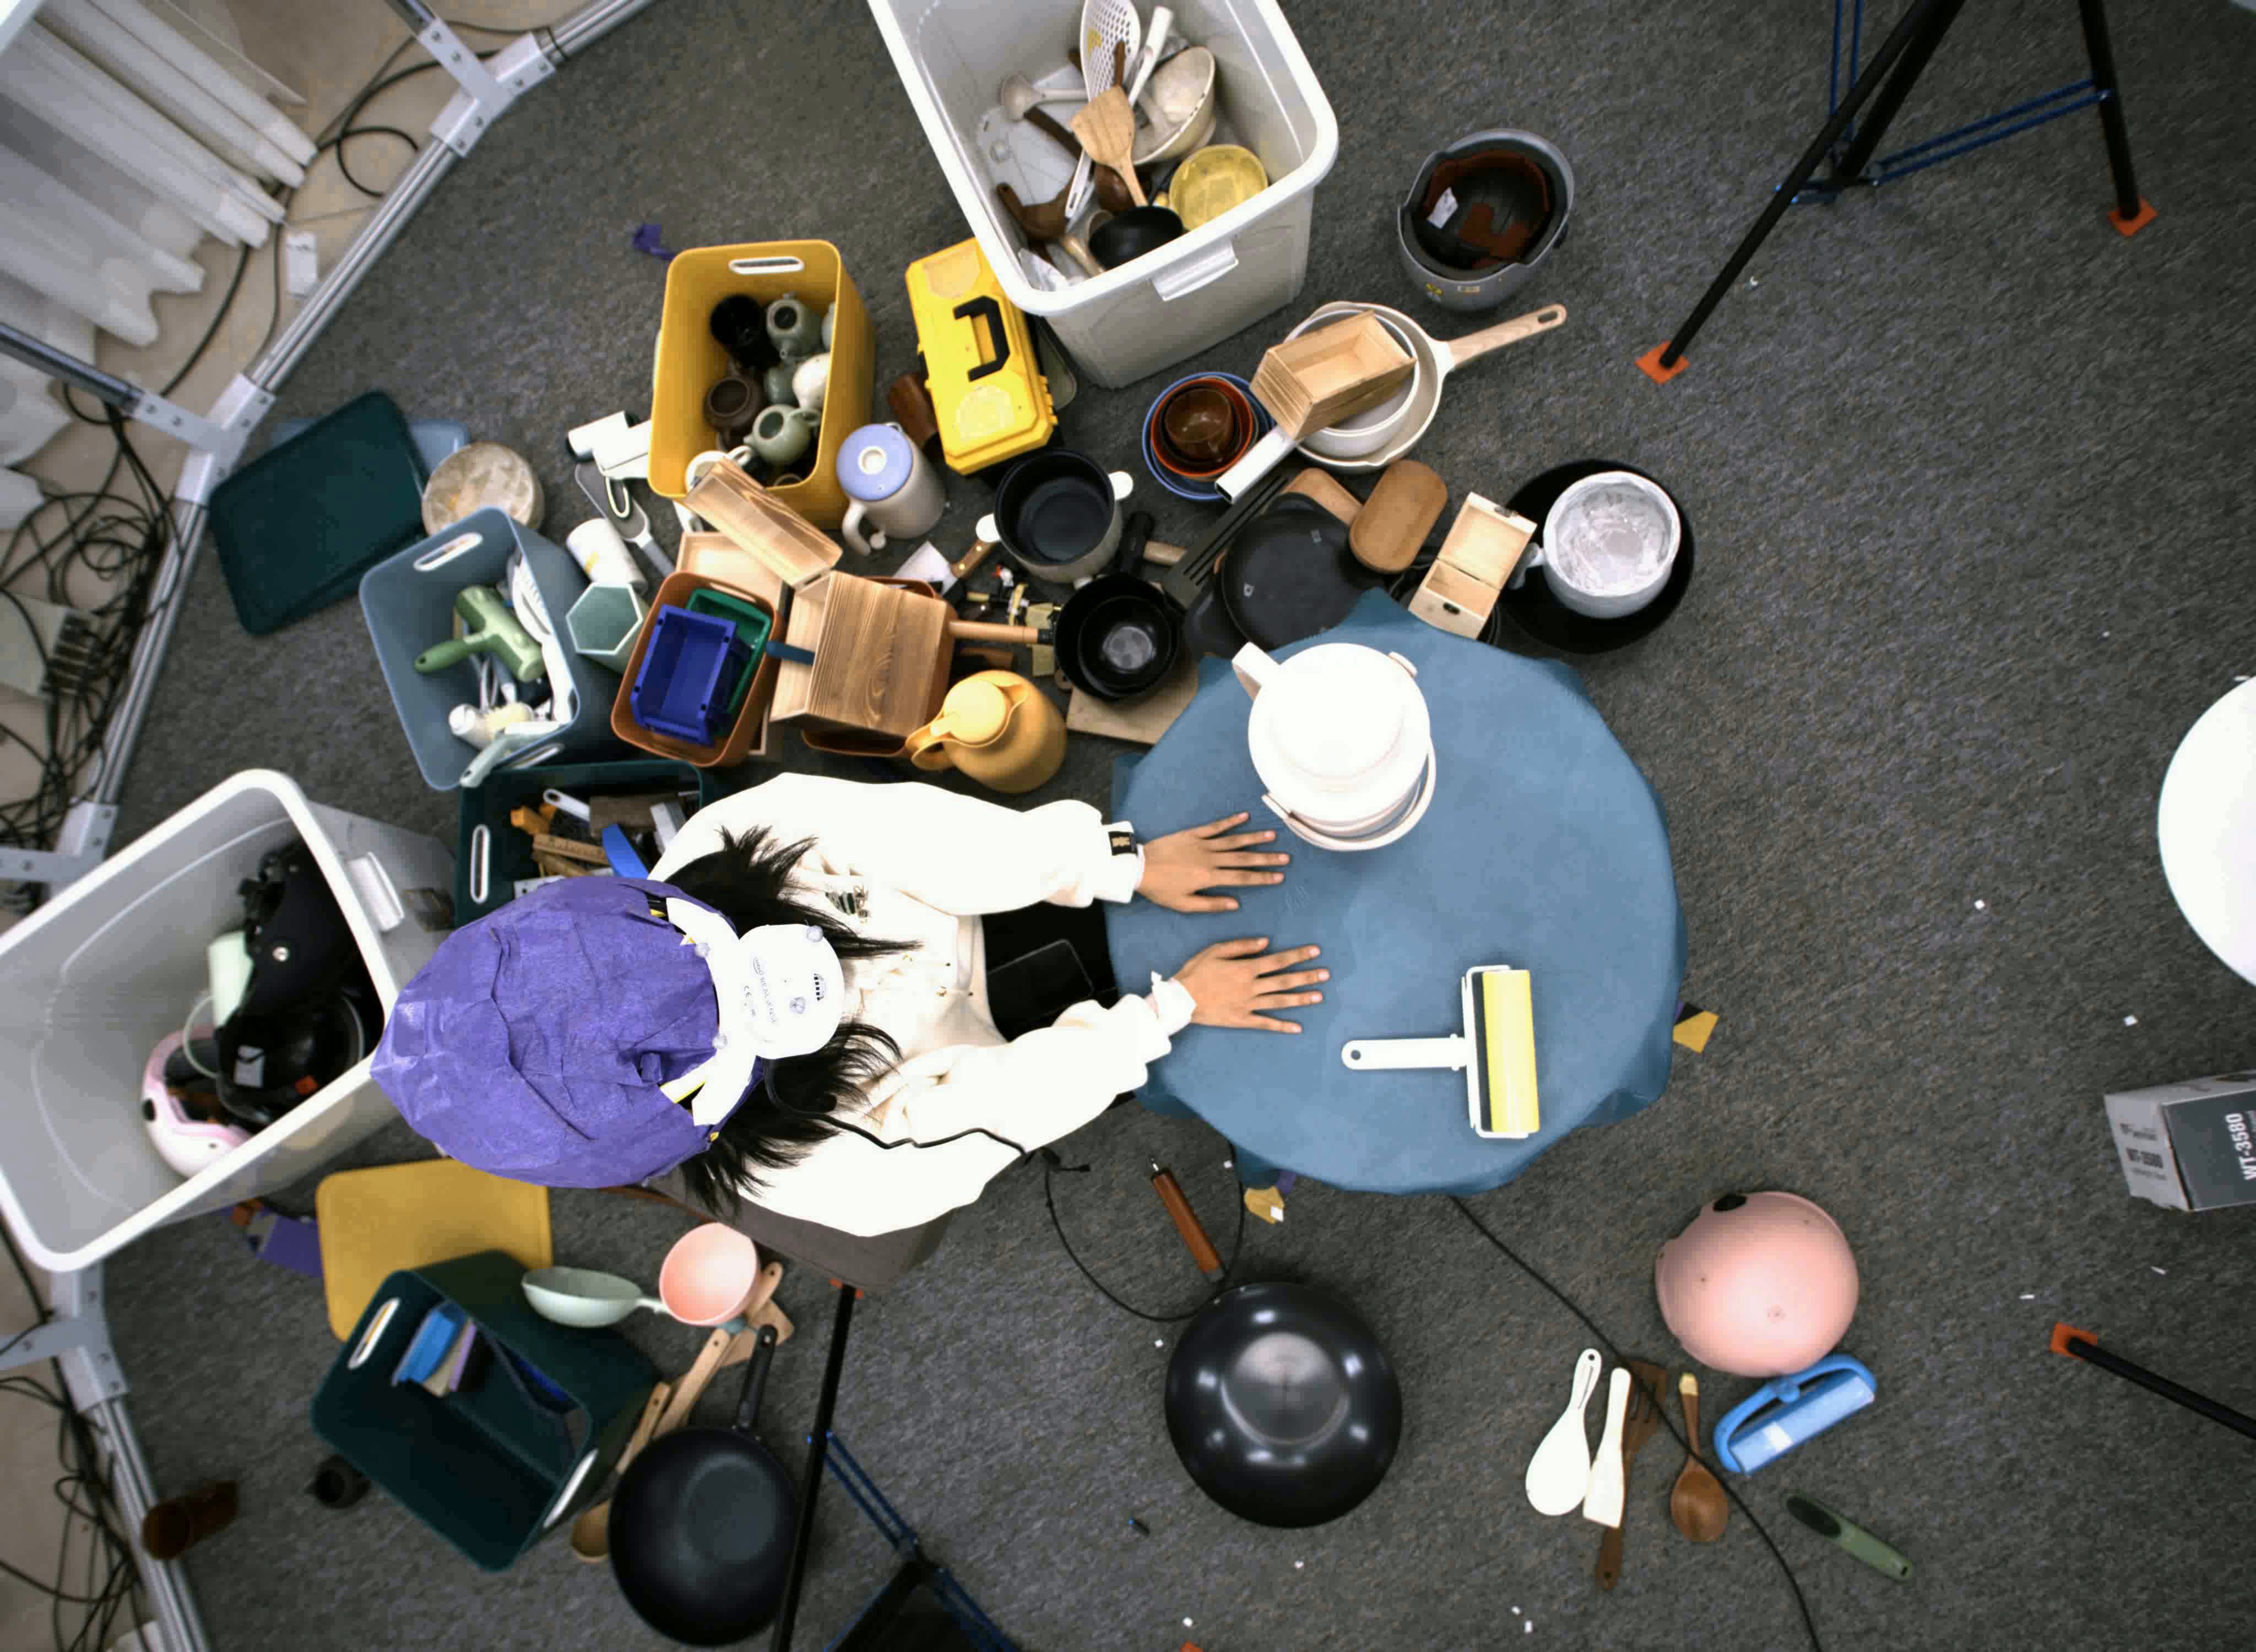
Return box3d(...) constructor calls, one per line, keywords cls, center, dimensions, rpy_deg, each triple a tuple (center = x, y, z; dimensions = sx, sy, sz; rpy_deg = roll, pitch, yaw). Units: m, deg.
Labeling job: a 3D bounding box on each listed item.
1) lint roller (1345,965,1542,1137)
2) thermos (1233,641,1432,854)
box3d(cls="lint roller", center=(0.320, 0.232, 1.414), dimensions=(0.192, 0.051, 0.173), rpy_deg=(-4, 86, 5))
box3d(cls="thermos", center=(0.189, -0.082, 1.283), dimensions=(0.206, 0.407, 0.176), rpy_deg=(42, 93, 11))
